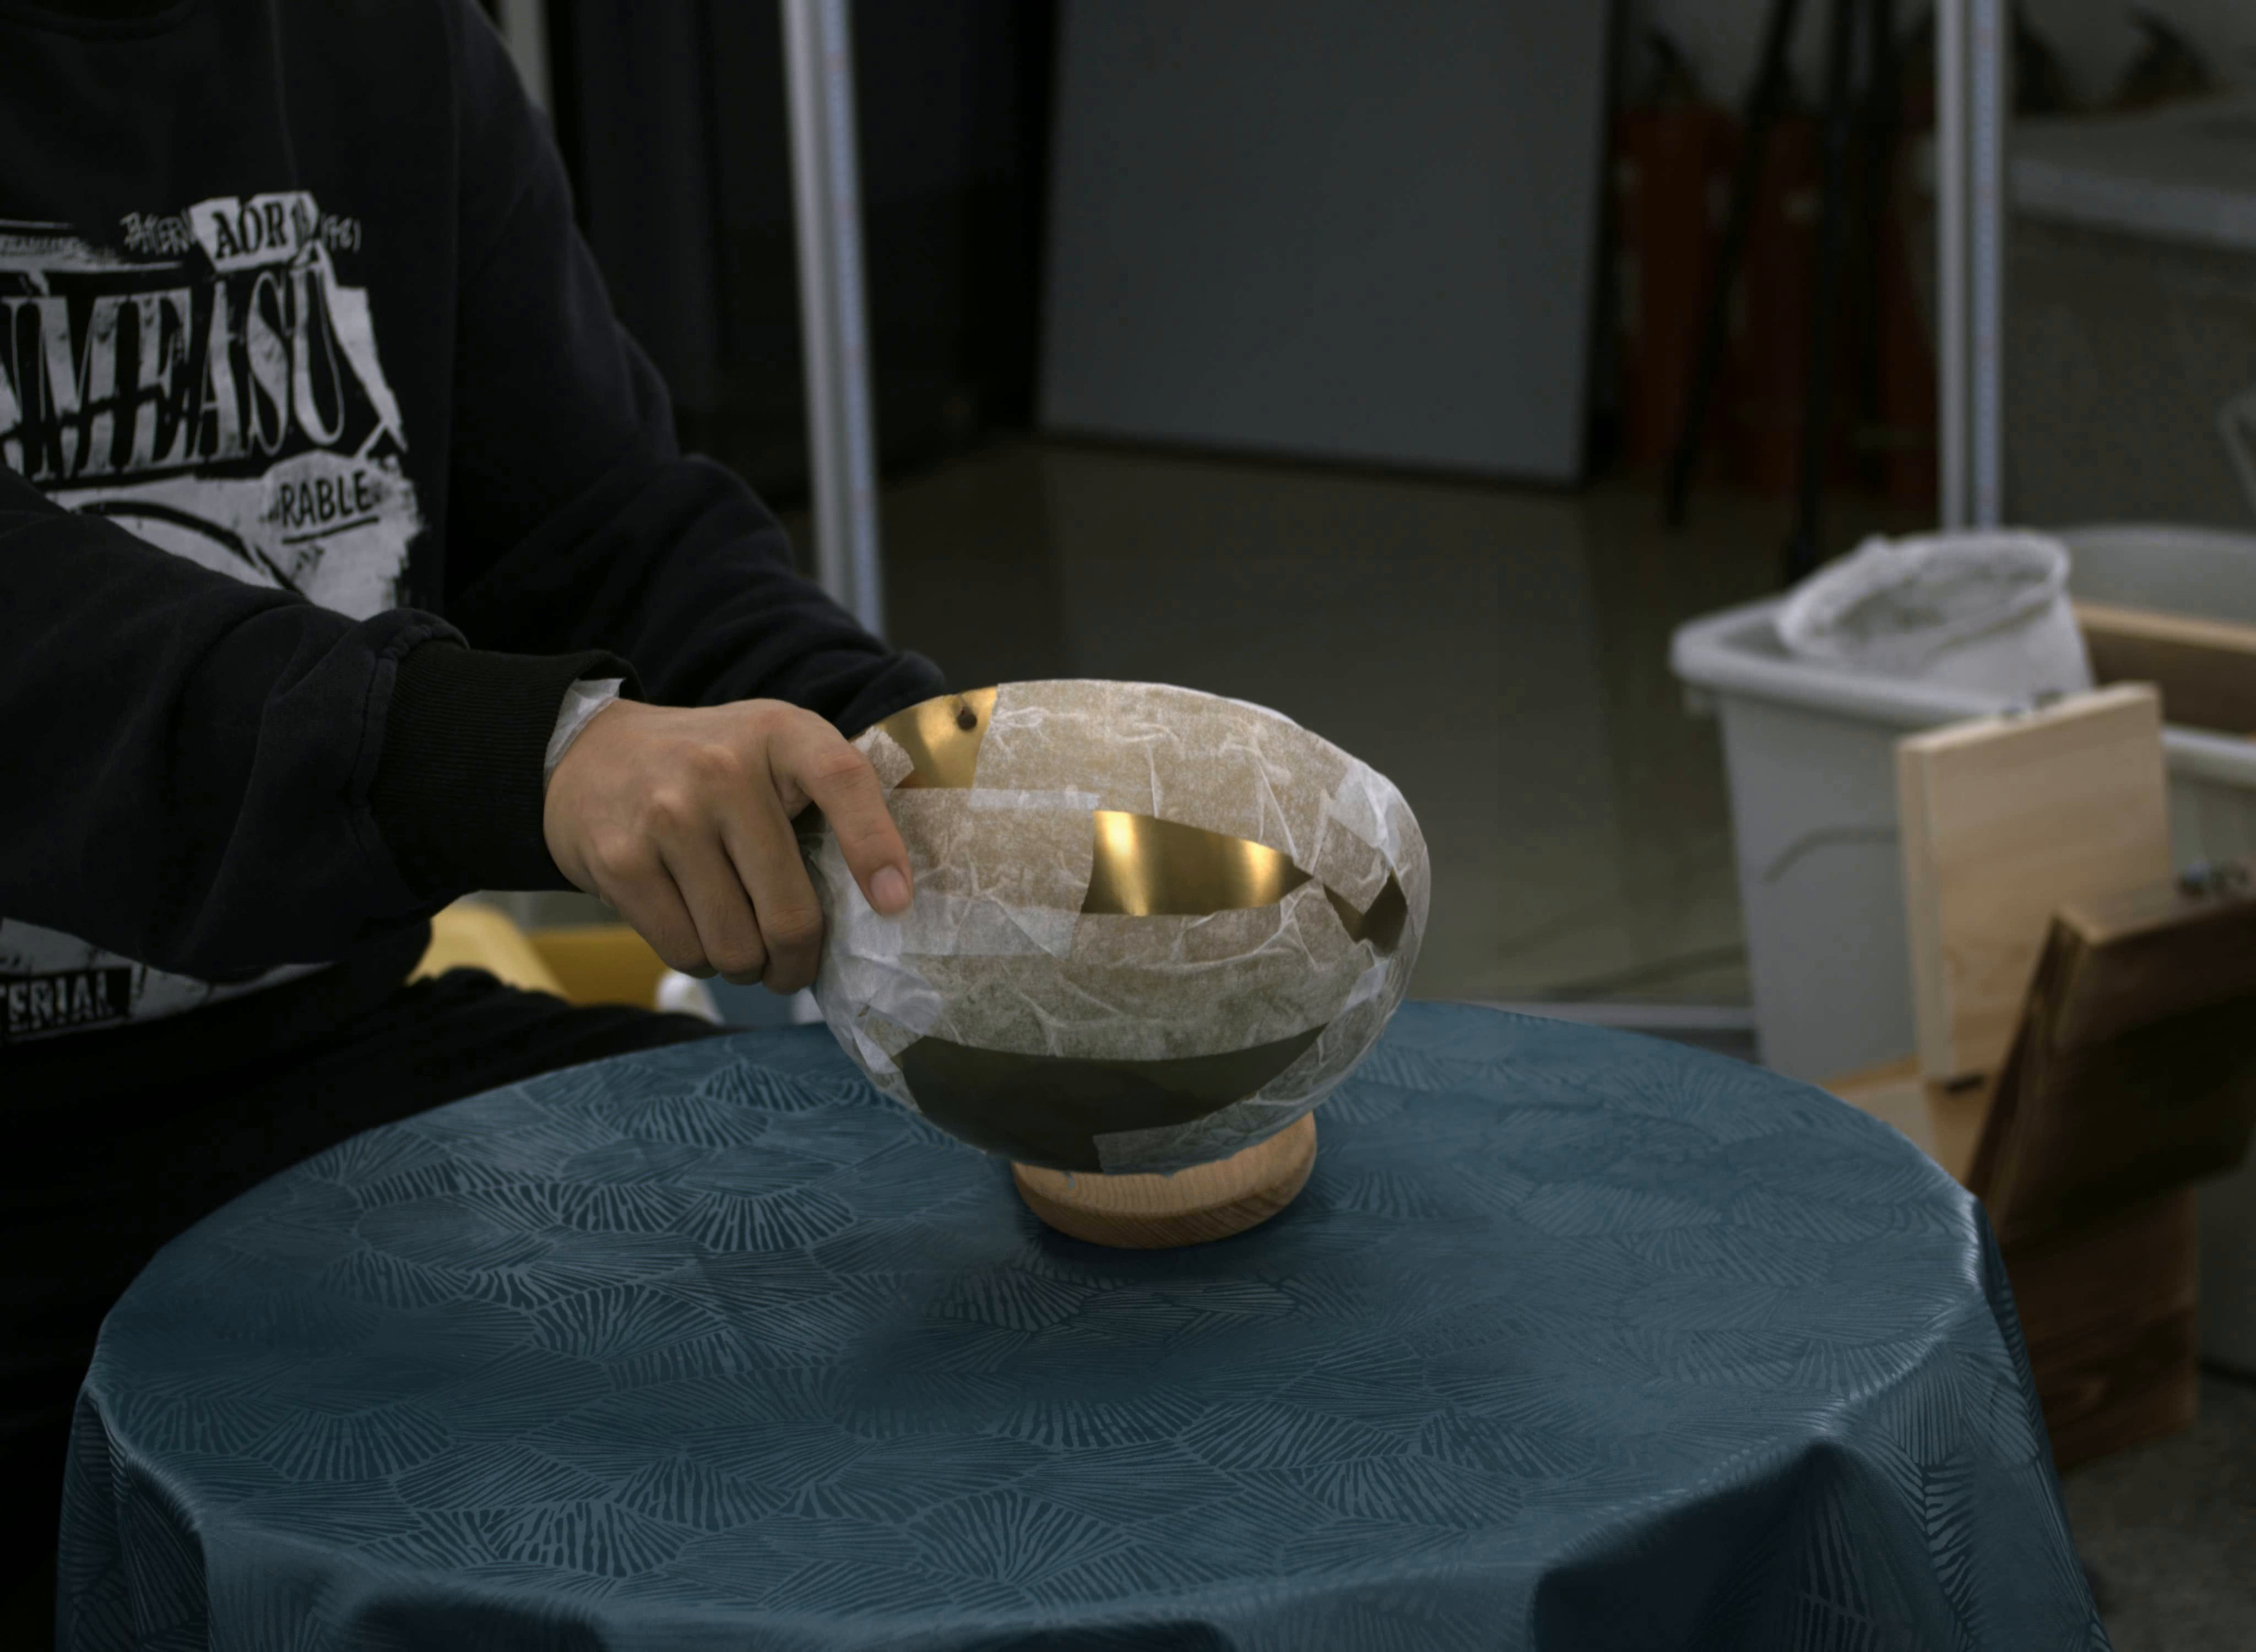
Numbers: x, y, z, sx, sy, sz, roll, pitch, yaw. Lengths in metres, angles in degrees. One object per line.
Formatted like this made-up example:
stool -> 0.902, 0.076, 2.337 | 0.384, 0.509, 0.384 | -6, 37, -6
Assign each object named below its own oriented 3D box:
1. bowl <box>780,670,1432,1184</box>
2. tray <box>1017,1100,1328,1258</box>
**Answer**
bowl -> -0.009, 0.050, 1.637 | 0.213, 0.214, 0.095 | -1, 56, 9
tray -> 0.007, 0.080, 1.805 | 0.100, 0.020, 0.233 | -11, 28, -3
